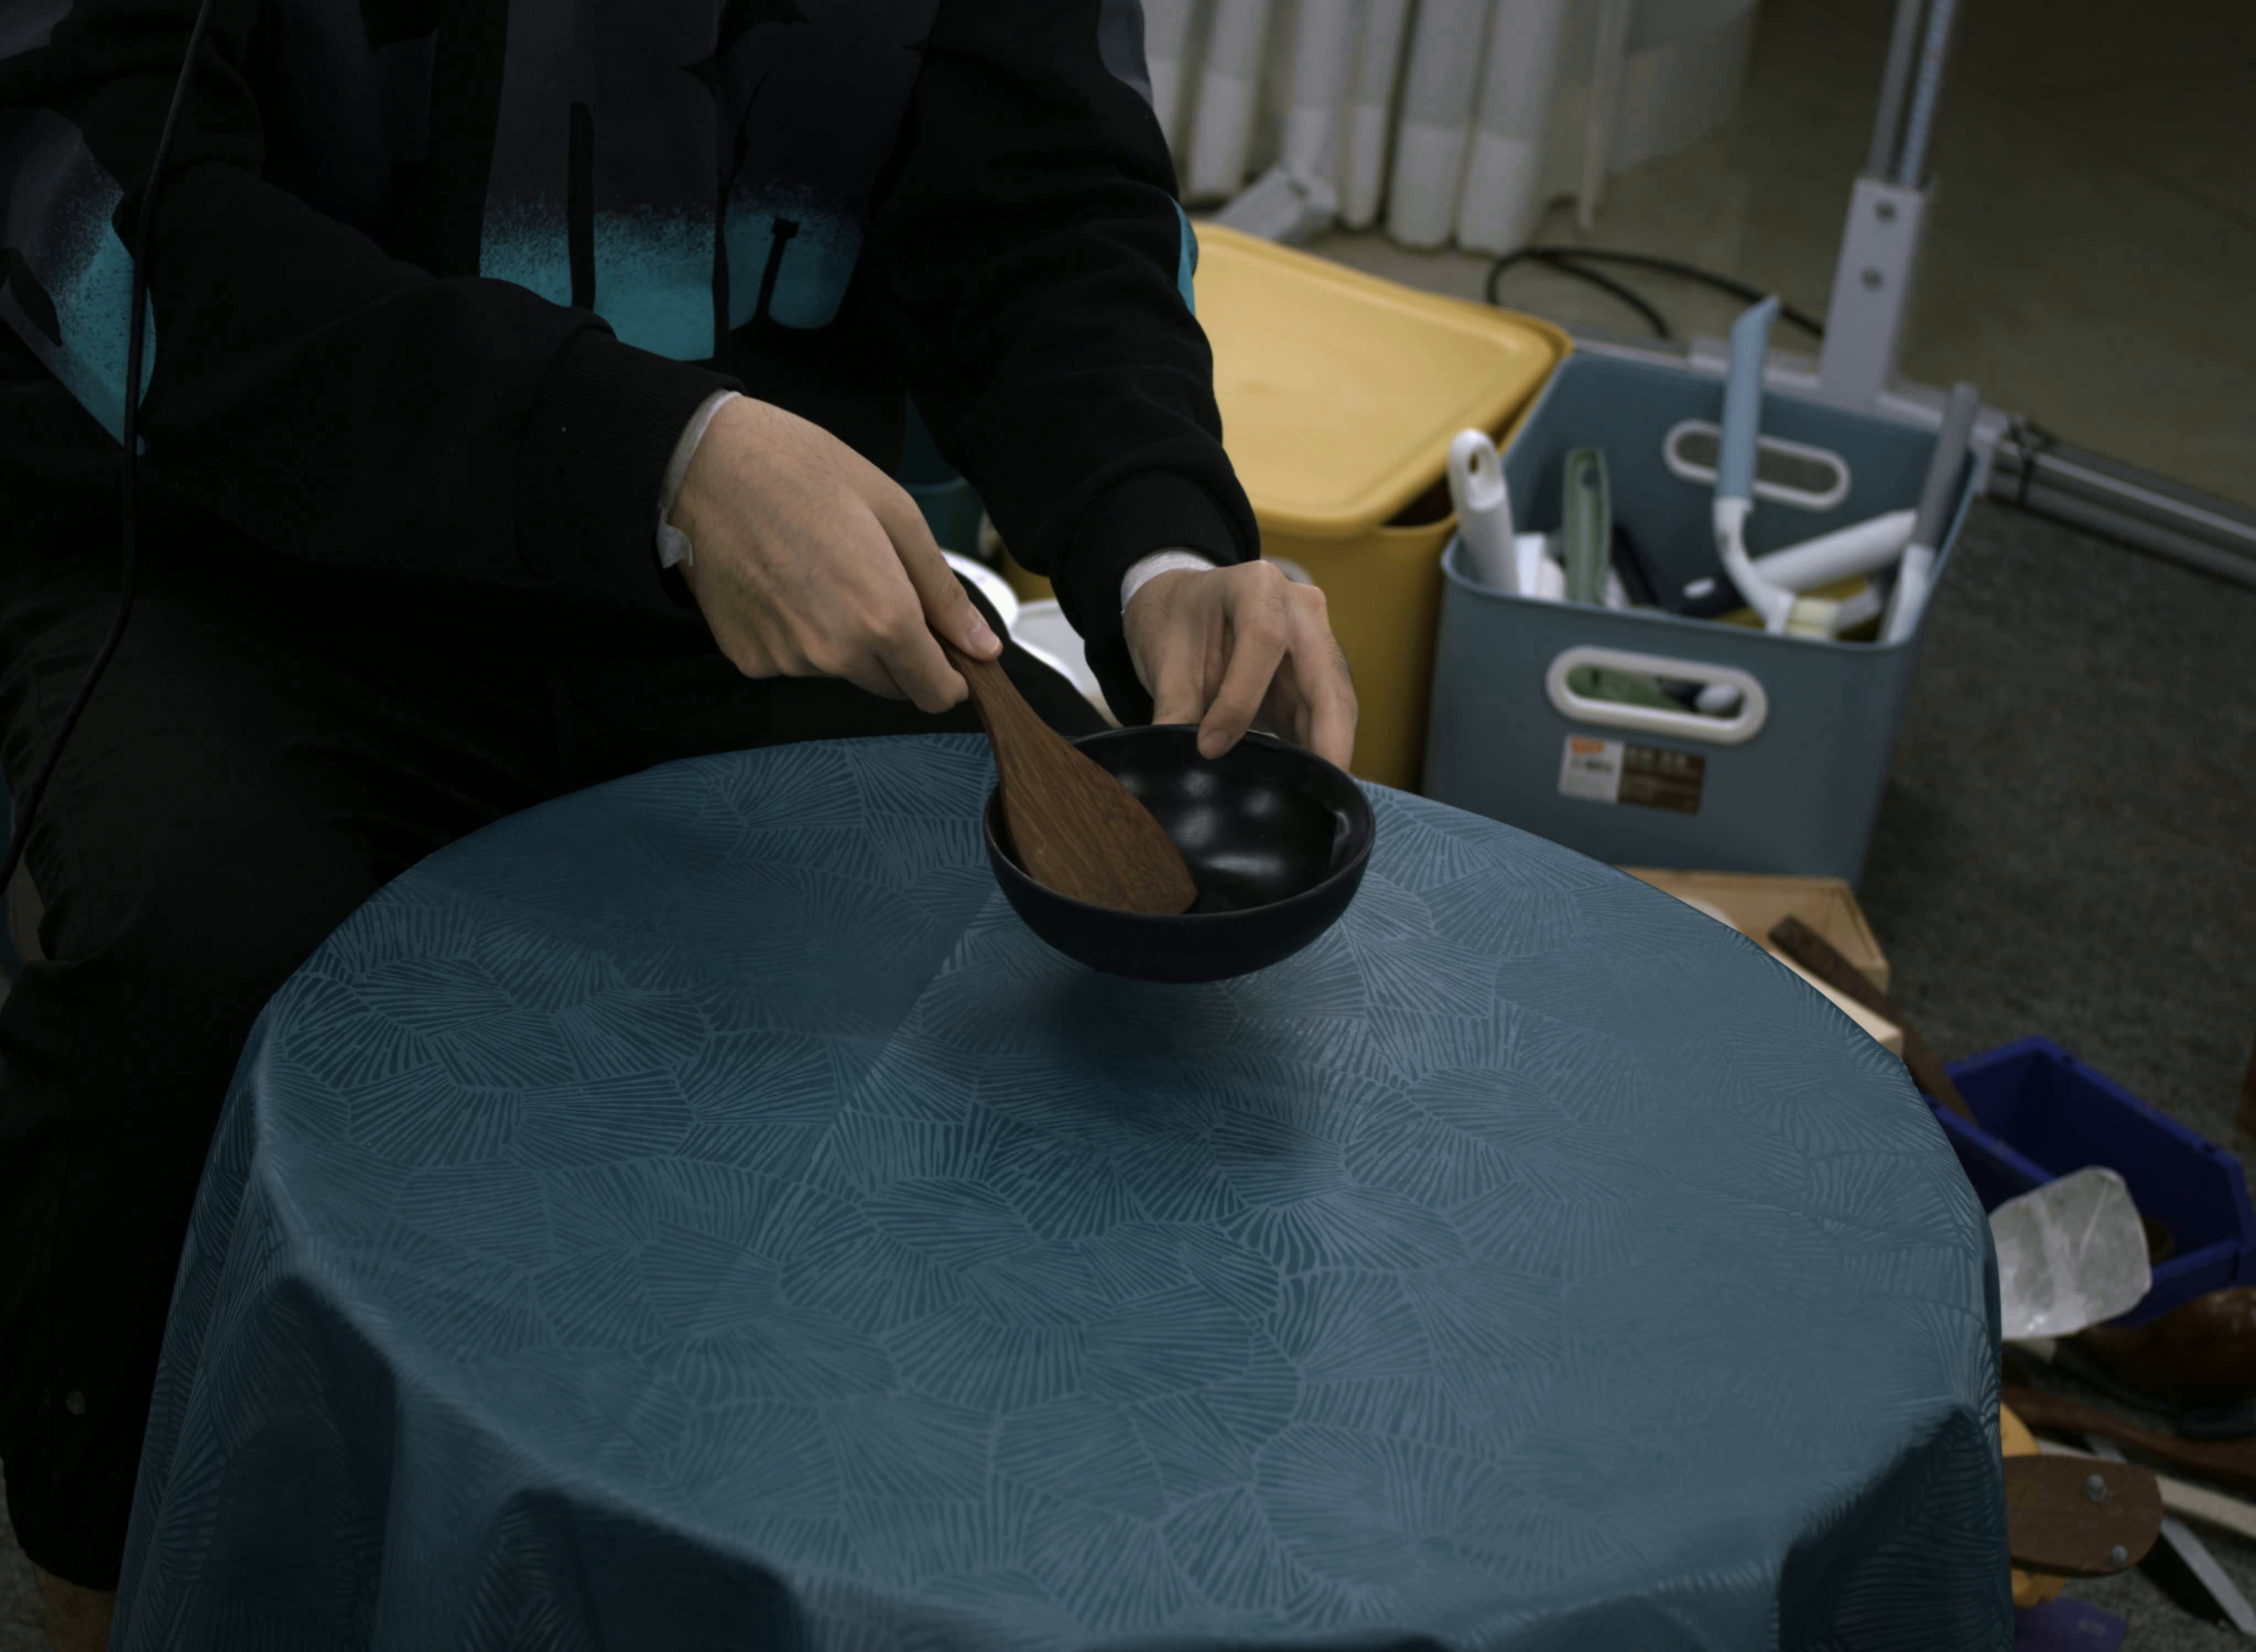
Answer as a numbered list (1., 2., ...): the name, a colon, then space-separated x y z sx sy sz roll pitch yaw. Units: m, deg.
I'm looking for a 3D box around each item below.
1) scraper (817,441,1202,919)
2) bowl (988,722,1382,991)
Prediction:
1. scraper: -0.049 -0.049 1.902 0.075 0.011 0.212 -22 76 -48
2. bowl: 0.021 0.019 1.879 0.139 0.049 0.141 -2 31 1
